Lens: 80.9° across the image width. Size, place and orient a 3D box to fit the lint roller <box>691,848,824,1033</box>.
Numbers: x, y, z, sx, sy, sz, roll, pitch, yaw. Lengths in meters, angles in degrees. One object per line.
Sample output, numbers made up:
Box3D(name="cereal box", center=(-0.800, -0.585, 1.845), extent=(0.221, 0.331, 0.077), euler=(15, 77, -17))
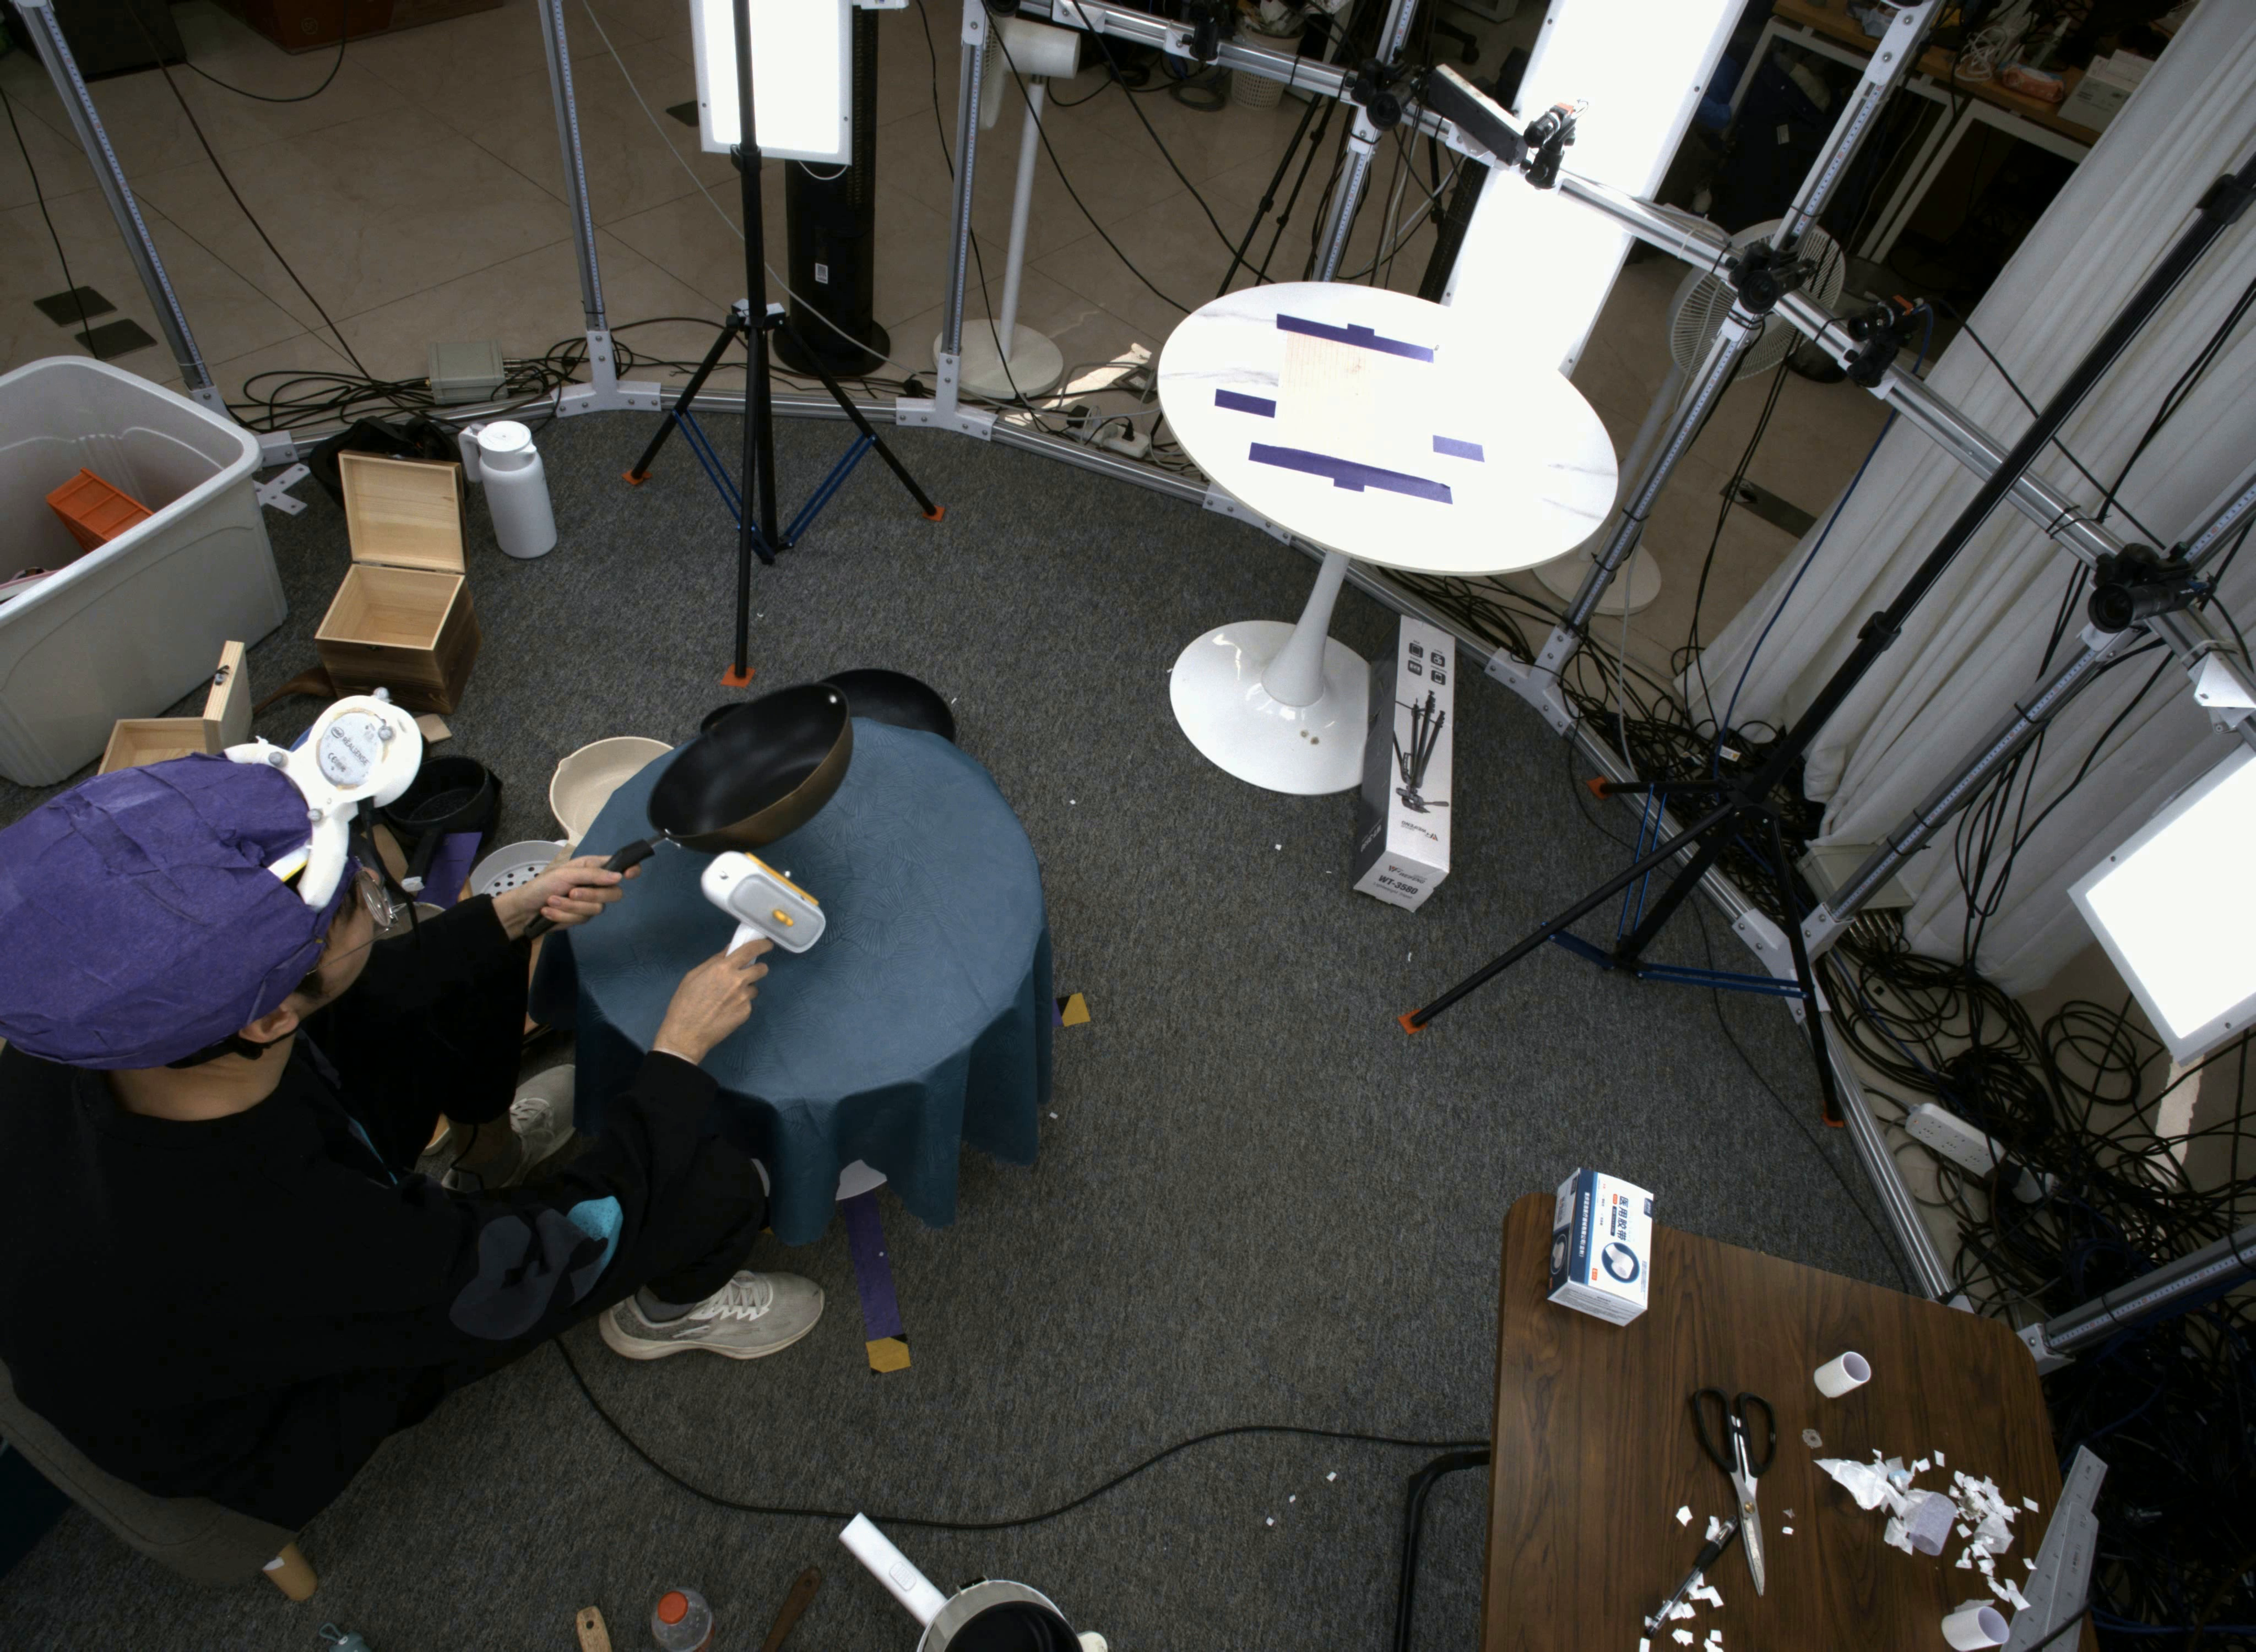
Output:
Box3D(name="lint roller", center=(-0.448, 0.140, 1.500), extent=(0.072, 0.198, 0.193), euler=(22, 80, 25))

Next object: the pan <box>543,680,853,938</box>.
Box3D(name="pan", center=(-0.506, 0.001, 1.544), extent=(0.463, 0.090, 0.277), euler=(-42, 38, -19))
